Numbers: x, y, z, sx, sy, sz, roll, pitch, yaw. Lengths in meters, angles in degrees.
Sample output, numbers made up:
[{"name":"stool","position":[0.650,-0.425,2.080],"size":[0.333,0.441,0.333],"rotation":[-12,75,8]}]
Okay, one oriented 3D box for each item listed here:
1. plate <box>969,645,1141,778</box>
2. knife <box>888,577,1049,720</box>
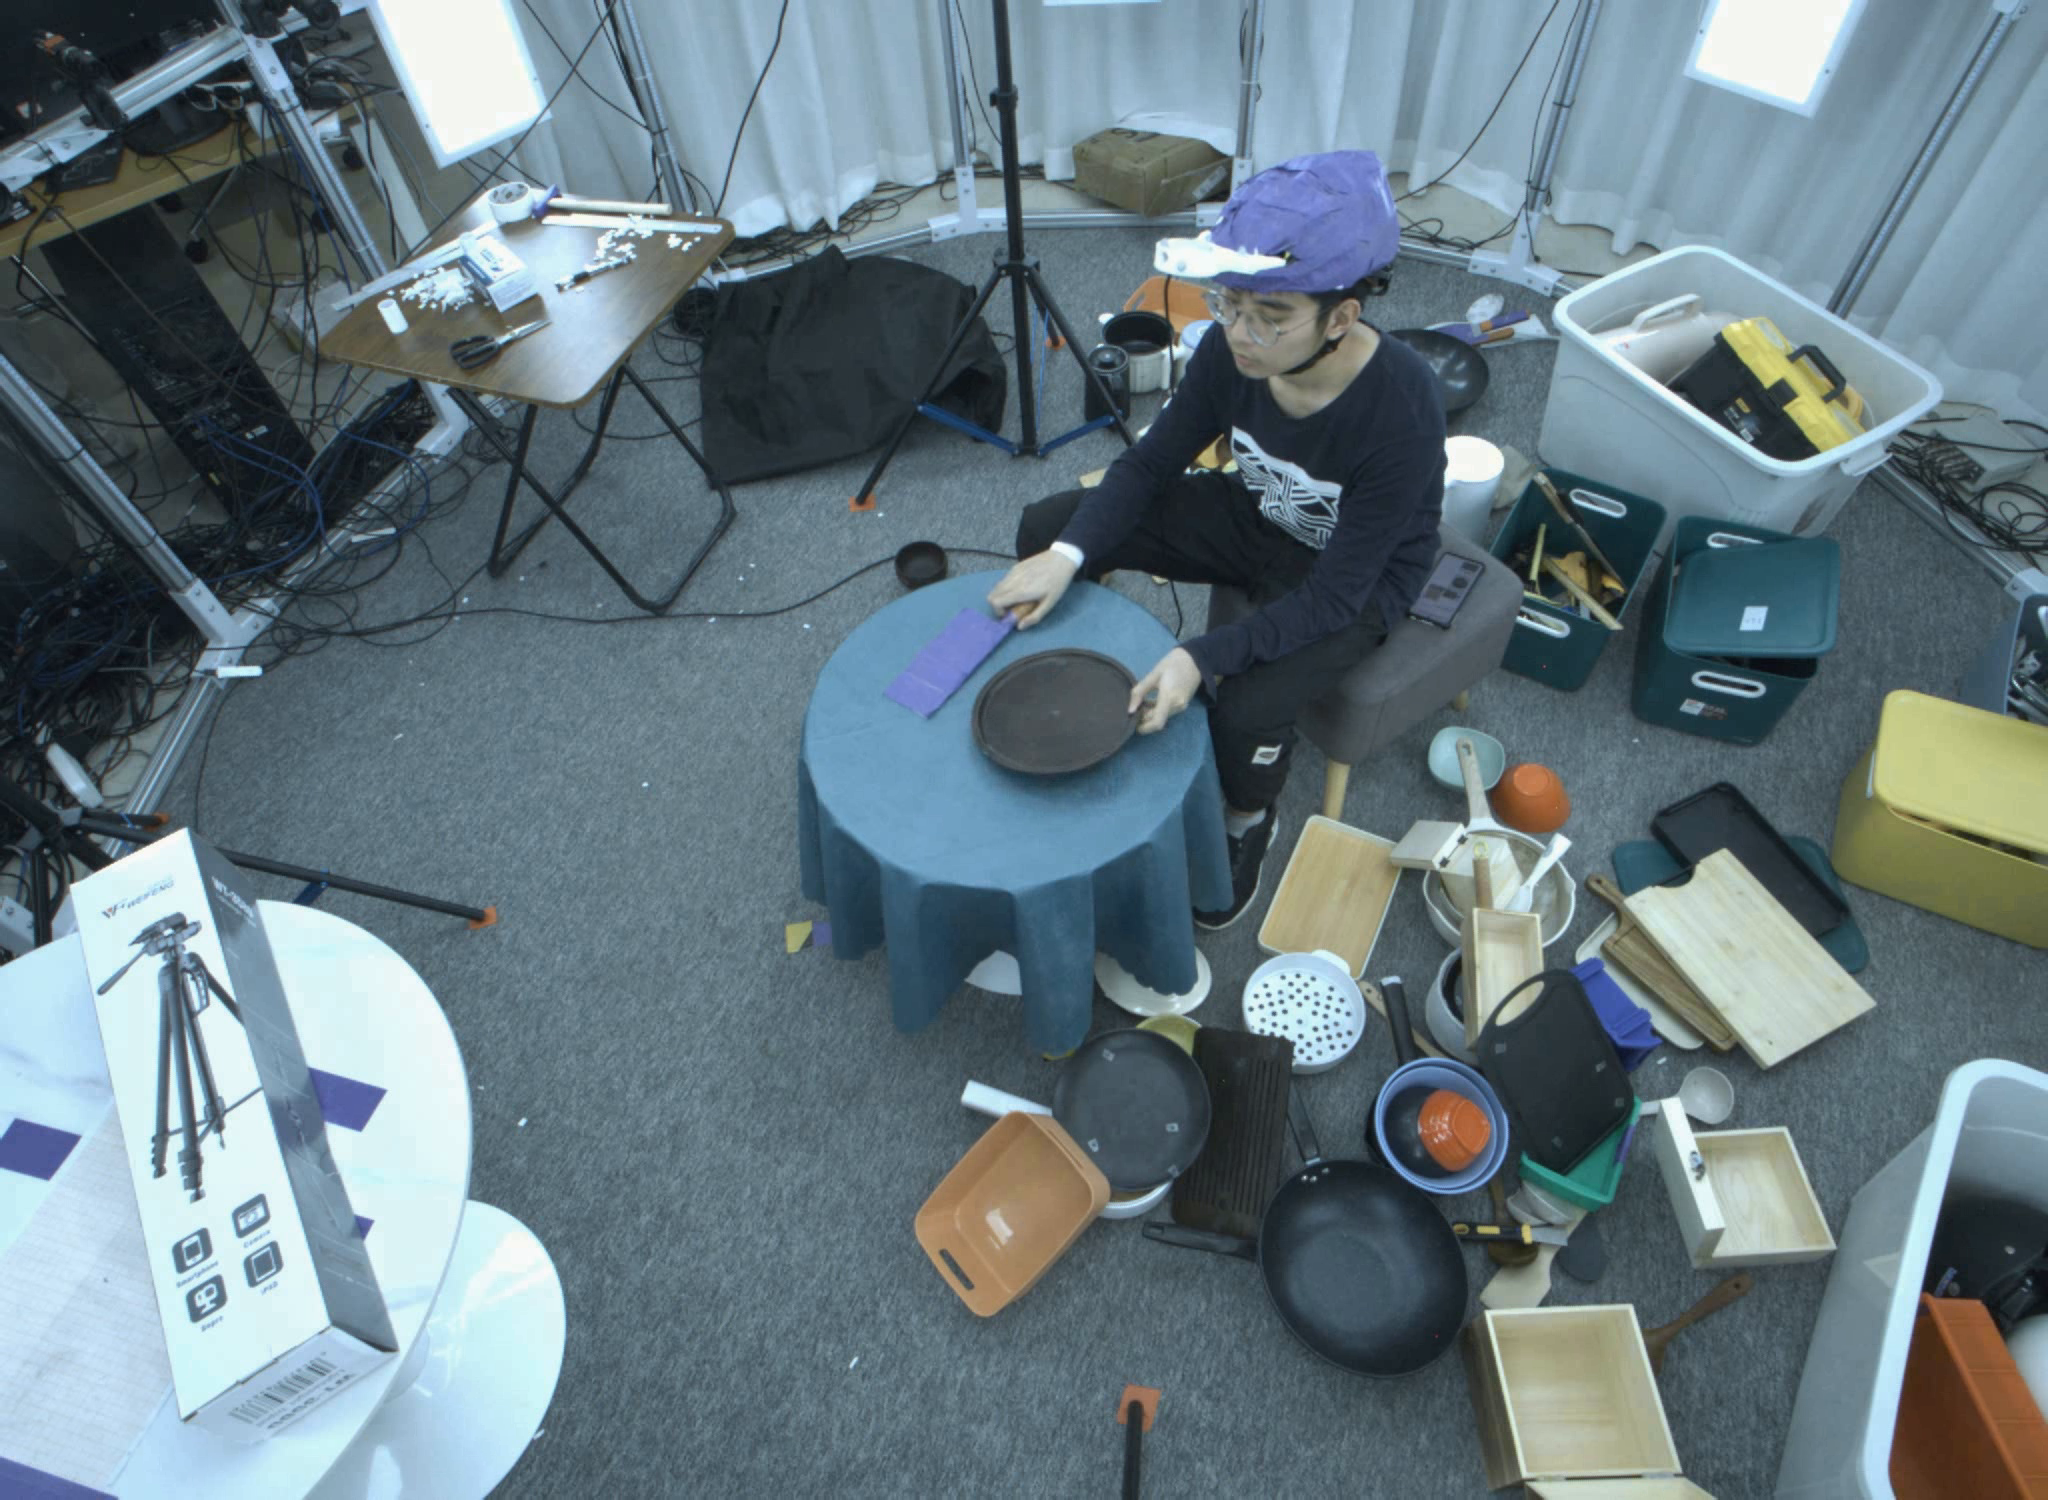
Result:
[{"name":"plate","position":[0.045,-0.056,1.799],"size":[0.254,0.029,0.252],"rotation":[-5,49,7]},{"name":"knife","position":[-0.087,-0.174,1.904],"size":[0.102,0.032,0.317],"rotation":[30,61,21]}]
